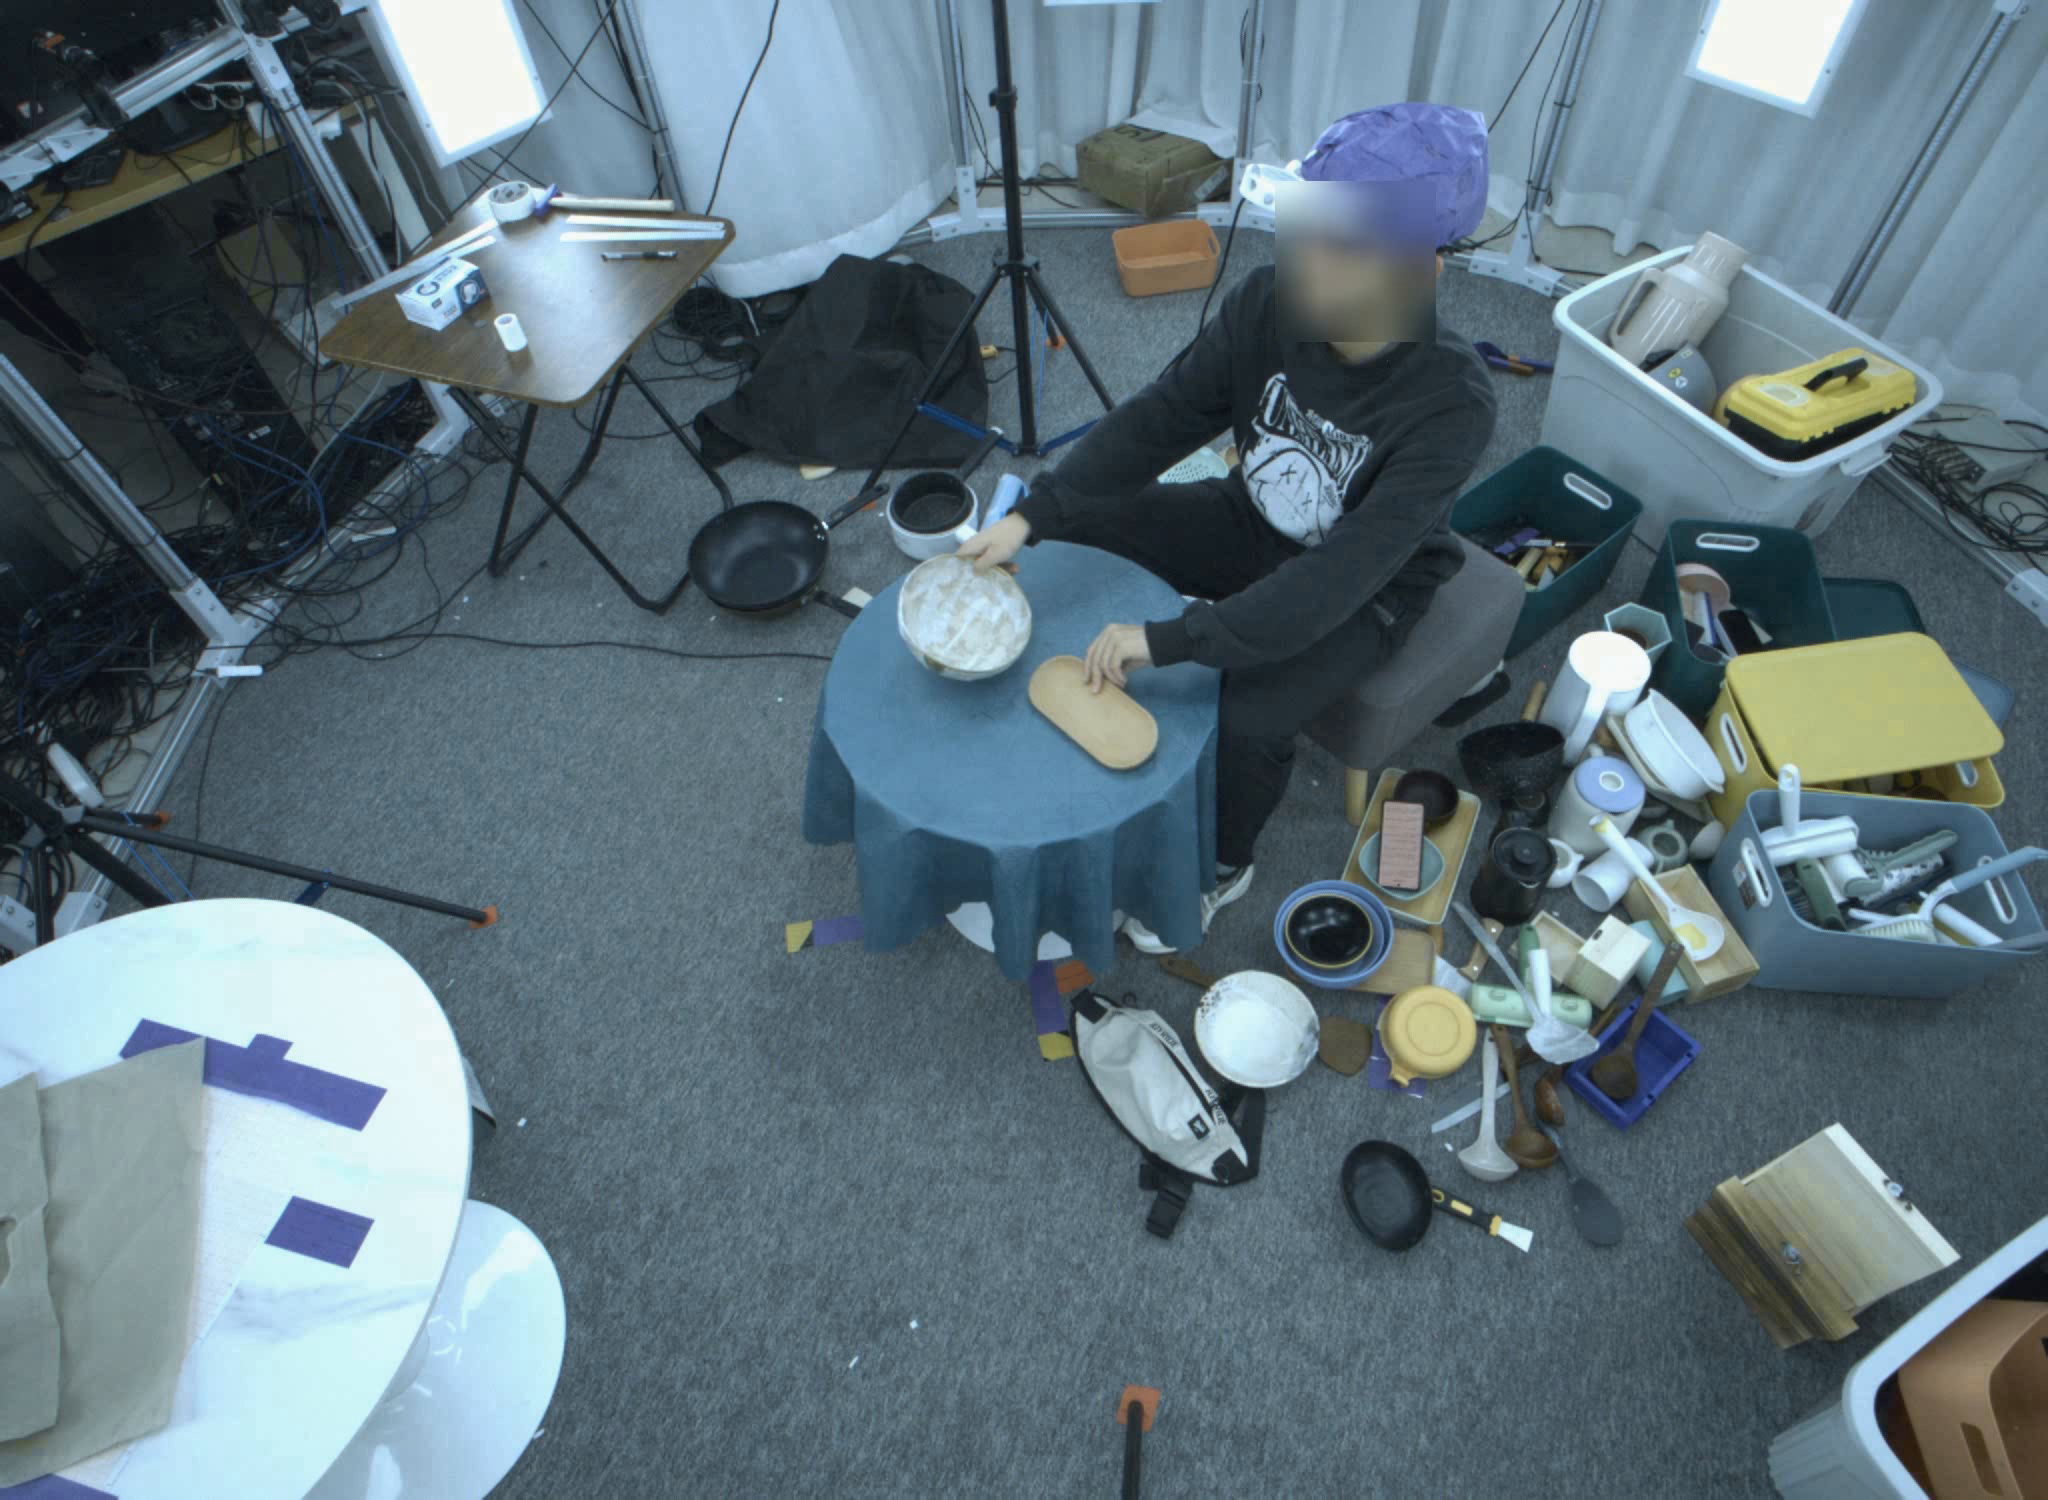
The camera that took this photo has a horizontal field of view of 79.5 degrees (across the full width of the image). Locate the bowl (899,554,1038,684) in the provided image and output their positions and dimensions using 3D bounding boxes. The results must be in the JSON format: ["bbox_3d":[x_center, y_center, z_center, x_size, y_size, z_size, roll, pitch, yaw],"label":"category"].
[{"bbox_3d":[-0.093,-0.180,1.846,0.218,0.094,0.213,9,65,-18],"label":"bowl"}]

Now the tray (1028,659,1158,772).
[{"bbox_3d":[0.100,-0.052,1.808,0.102,0.020,0.227,-45,62,-10],"label":"tray"}]
